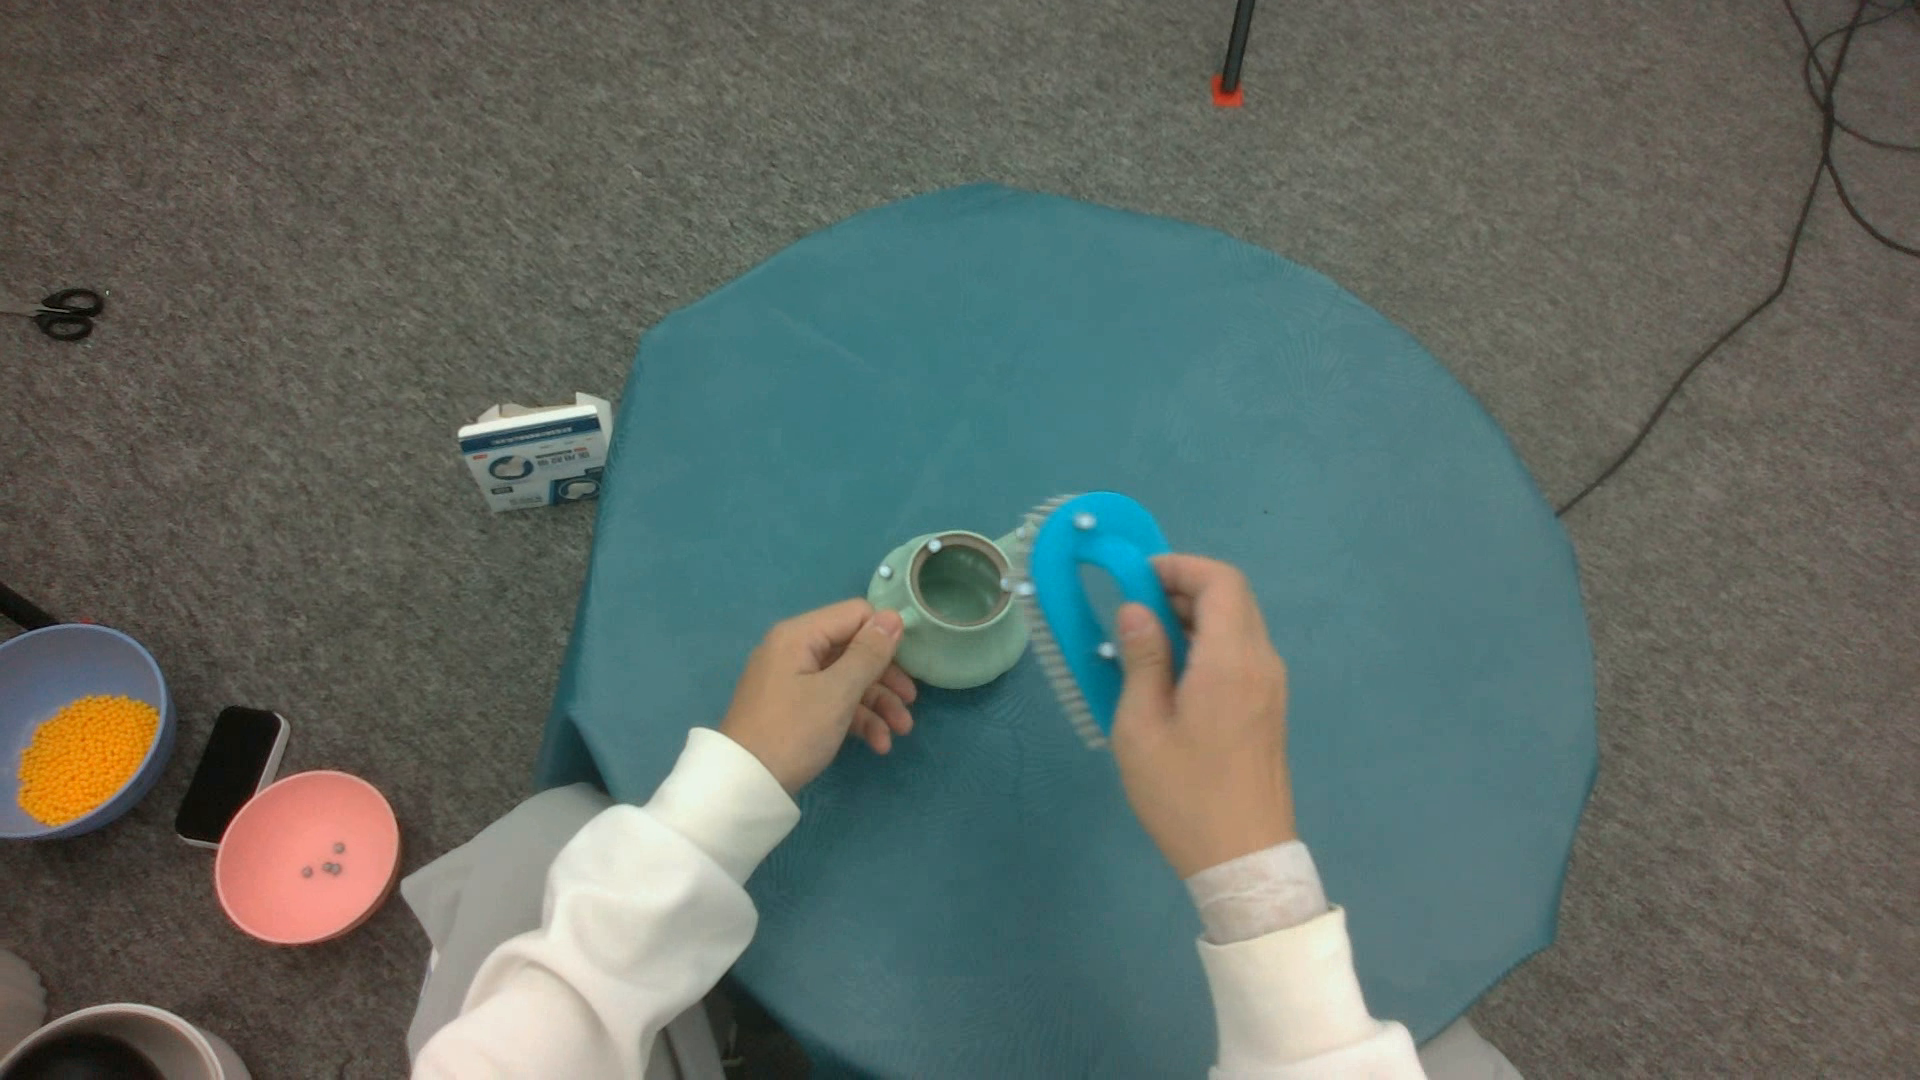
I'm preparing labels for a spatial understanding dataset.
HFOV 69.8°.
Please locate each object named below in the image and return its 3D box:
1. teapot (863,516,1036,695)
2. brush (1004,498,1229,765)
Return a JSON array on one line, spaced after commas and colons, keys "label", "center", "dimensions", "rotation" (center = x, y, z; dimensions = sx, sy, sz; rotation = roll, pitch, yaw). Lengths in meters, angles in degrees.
[{"label": "teapot", "center": [-0.006, 0.040, 0.787], "dimensions": [0.137, 0.061, 0.096], "rotation": [-38, 76, -27]}, {"label": "brush", "center": [0.086, 0.042, 0.669], "dimensions": [0.084, 0.063, 0.141], "rotation": [-33, 99, -26]}]
